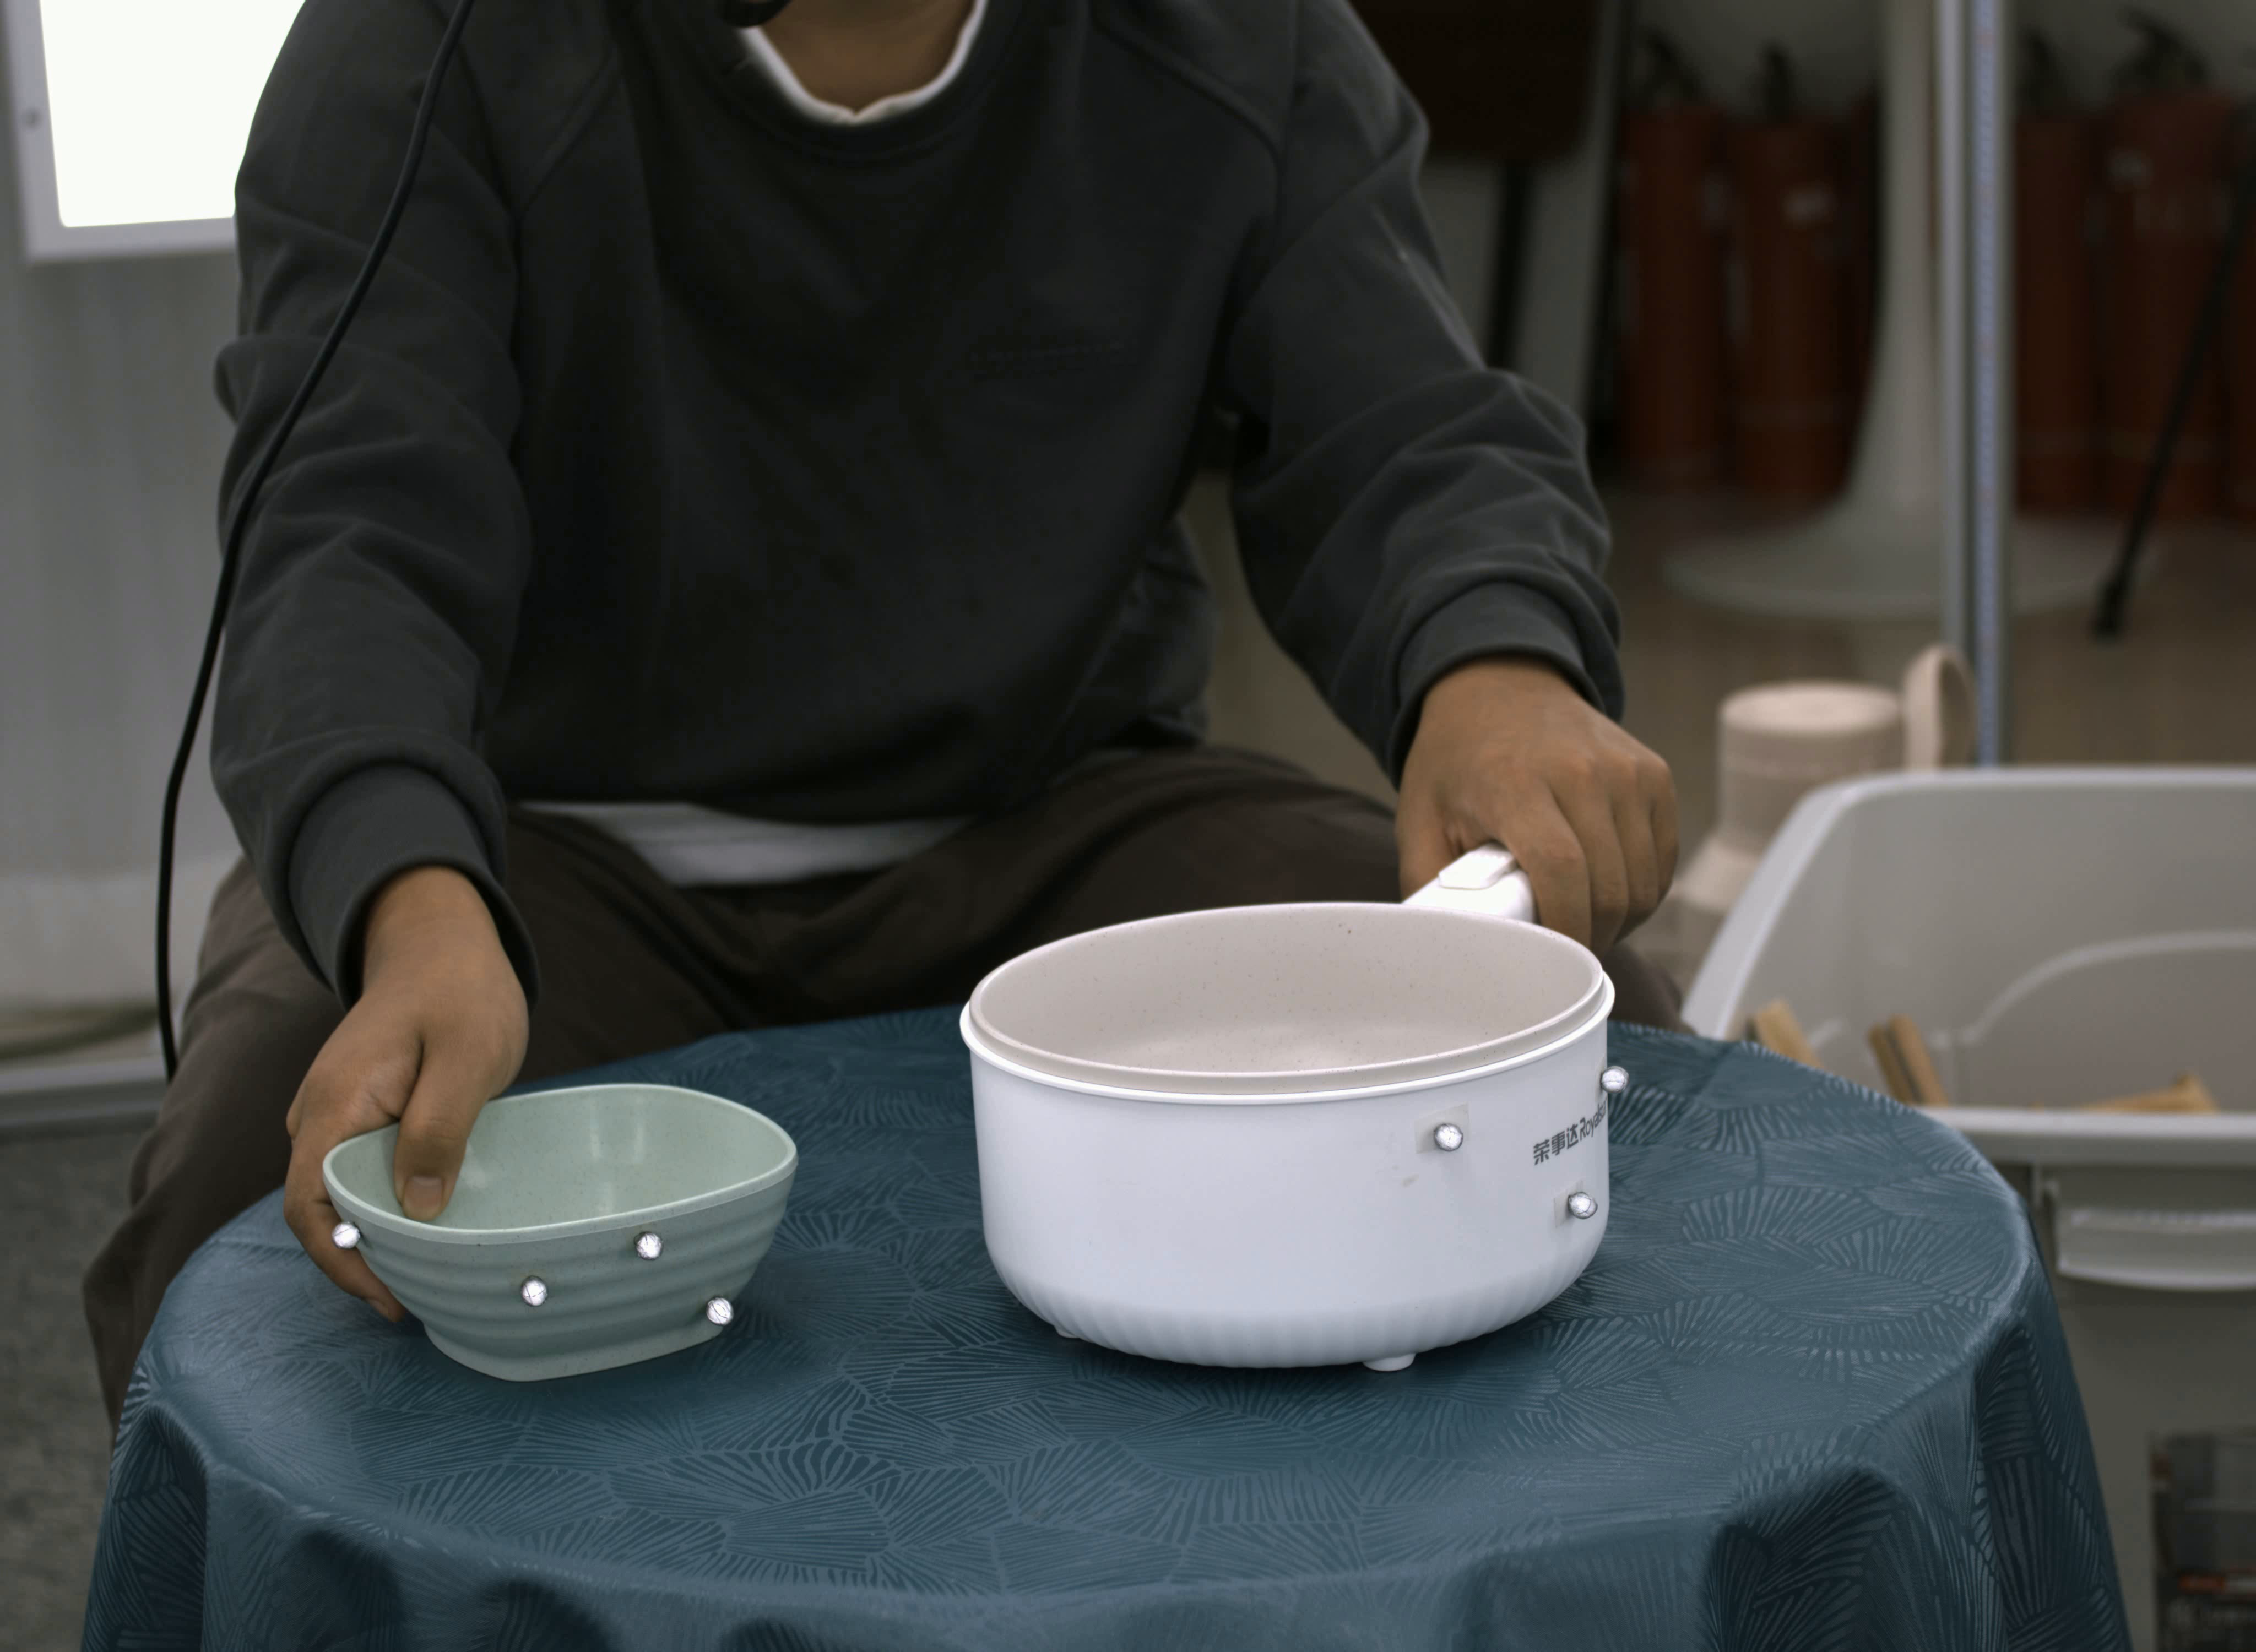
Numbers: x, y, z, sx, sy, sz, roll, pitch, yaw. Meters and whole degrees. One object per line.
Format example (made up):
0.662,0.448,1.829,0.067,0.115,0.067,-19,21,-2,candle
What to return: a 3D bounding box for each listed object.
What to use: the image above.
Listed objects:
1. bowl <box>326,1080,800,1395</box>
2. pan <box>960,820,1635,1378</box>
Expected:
-0.172,0.130,1.668,0.149,0.059,0.152,-3,16,0,bowl
0.083,0.083,1.716,0.201,0.103,0.350,1,13,26,pan
